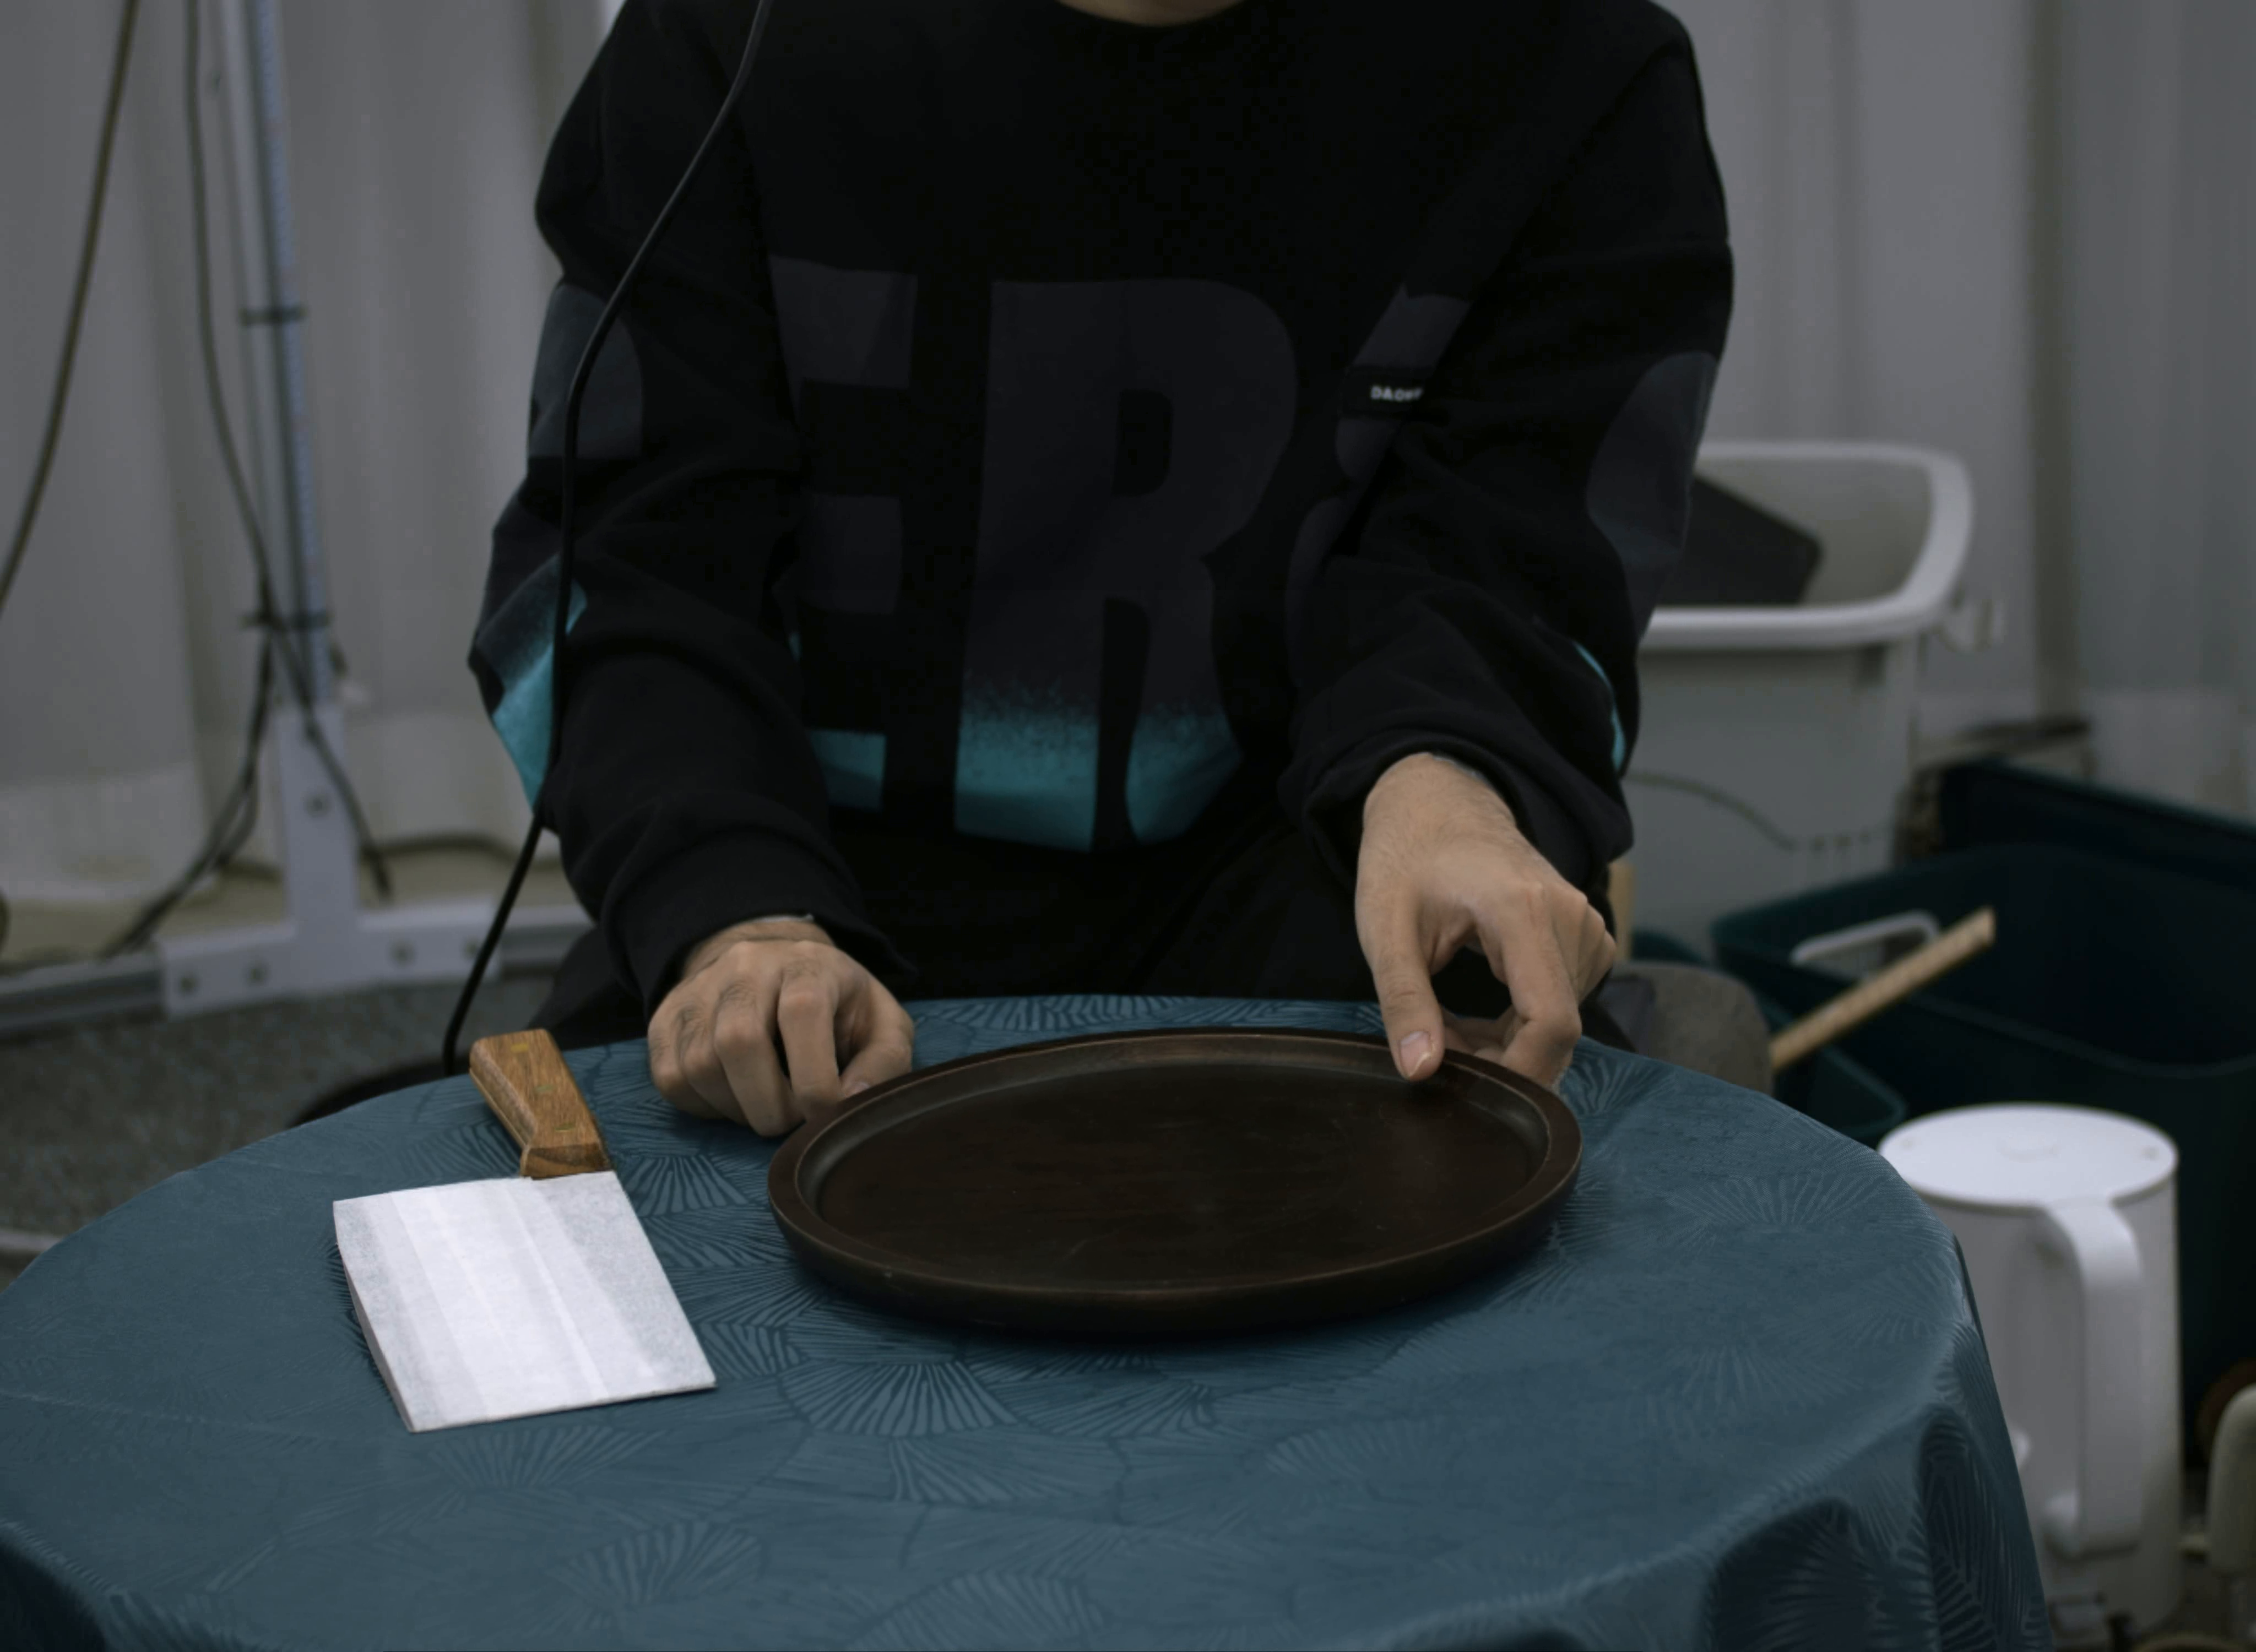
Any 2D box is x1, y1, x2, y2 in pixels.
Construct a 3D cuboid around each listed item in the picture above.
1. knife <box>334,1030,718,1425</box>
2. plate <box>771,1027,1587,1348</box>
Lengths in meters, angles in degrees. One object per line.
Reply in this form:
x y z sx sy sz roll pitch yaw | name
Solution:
-0.196 0.123 1.694 0.092 0.021 0.308 -8 18 -13 | knife
0.016 0.109 1.686 0.254 0.029 0.256 -2 15 0 | plate
